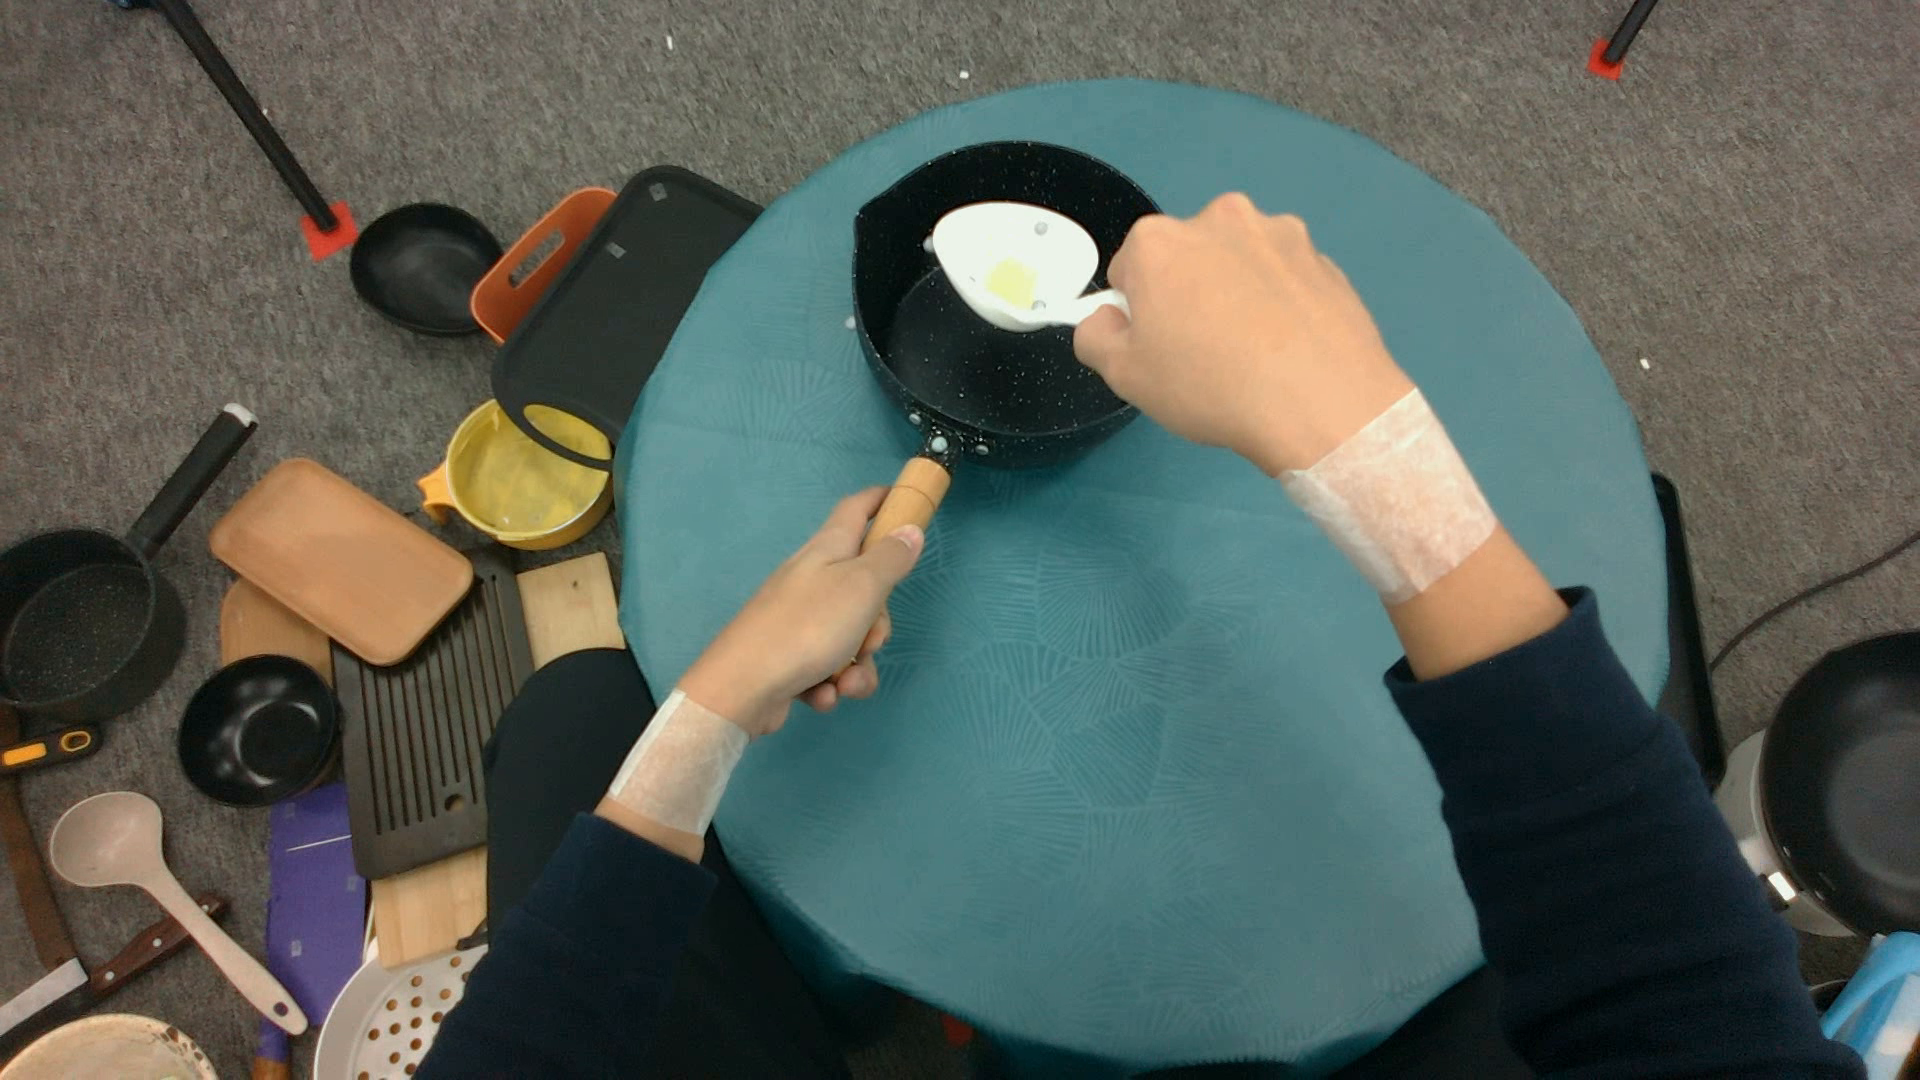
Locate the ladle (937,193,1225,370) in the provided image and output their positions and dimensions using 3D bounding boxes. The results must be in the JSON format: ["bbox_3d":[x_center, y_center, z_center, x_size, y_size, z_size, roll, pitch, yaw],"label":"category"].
[{"bbox_3d":[0.054,-0.127,0.639,0.090,0.293,0.070,8,100,-14],"label":"ladle"}]

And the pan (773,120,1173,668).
[{"bbox_3d":[-0.010,-0.071,0.742,0.207,0.108,0.344,23,68,4],"label":"pan"}]
